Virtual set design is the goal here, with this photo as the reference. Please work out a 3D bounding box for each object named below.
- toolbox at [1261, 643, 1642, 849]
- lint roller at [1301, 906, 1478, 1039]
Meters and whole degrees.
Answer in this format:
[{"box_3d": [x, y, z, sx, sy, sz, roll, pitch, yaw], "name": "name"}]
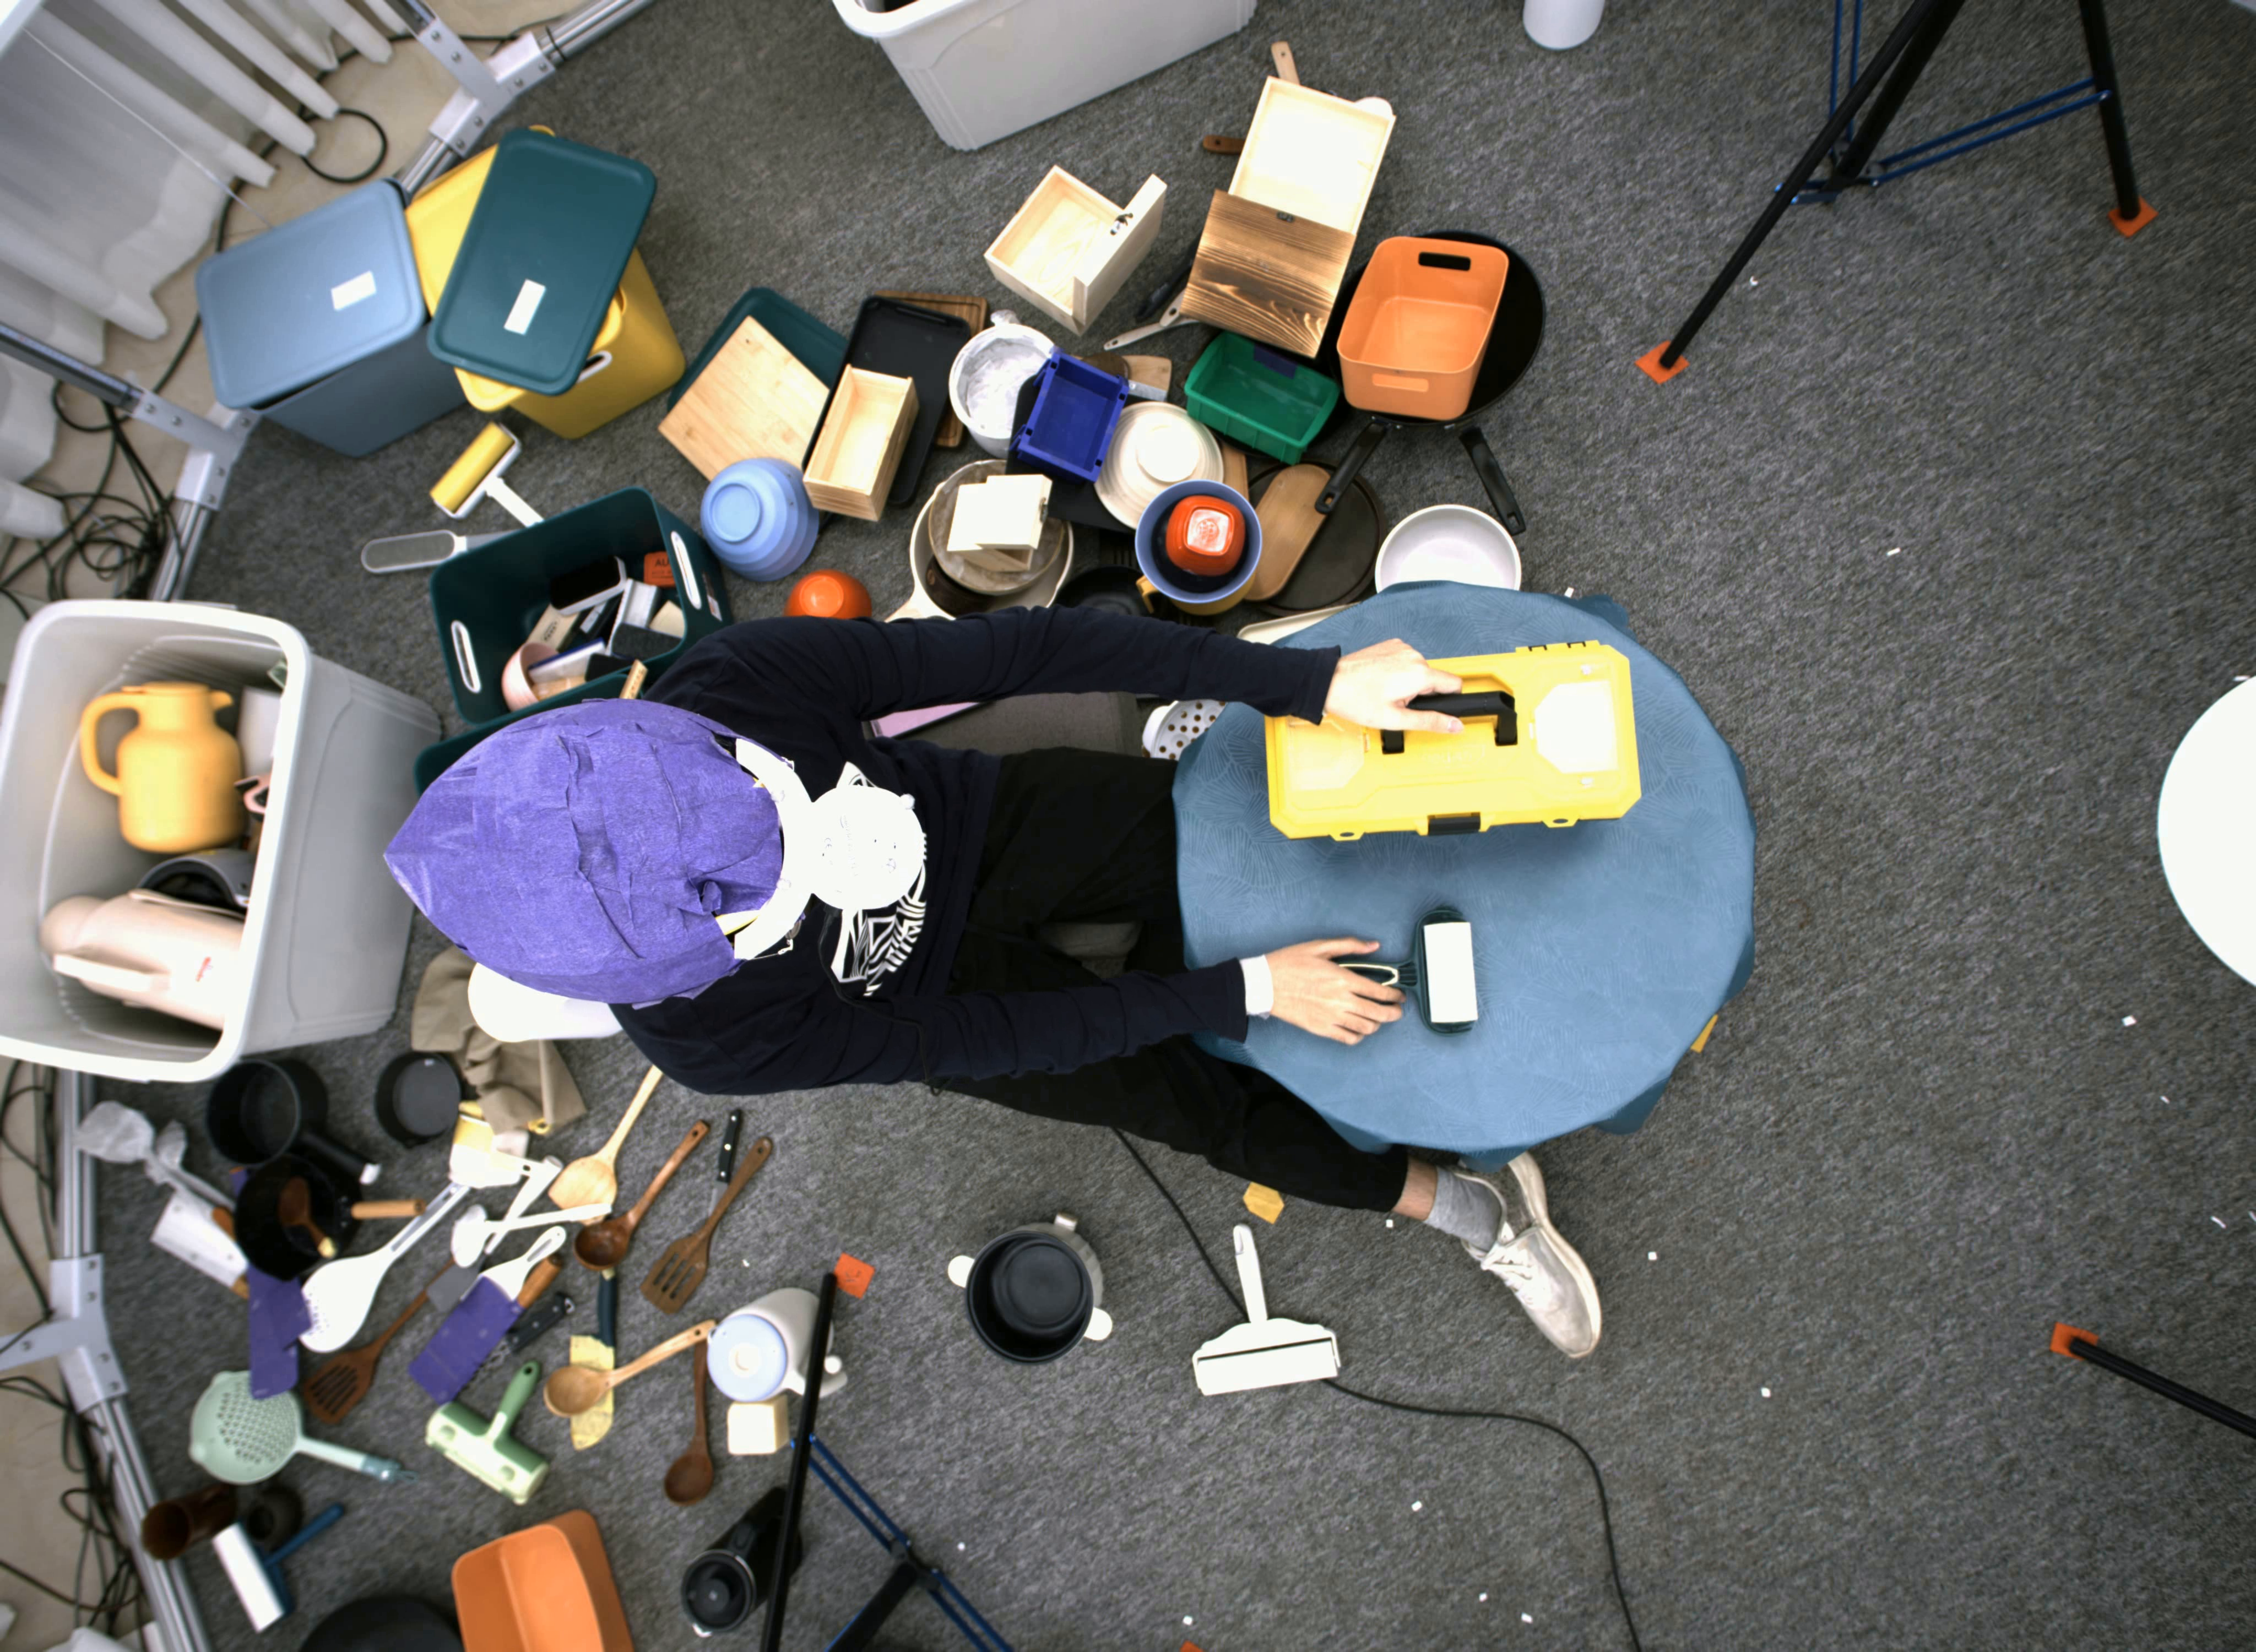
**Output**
[{"box_3d": [0.317, -0.074, 1.371, 0.353, 0.173, 0.180, -4, 84, 11], "name": "toolbox"}, {"box_3d": [0.267, 0.155, 1.436, 0.181, 0.048, 0.134, -5, 86, 14], "name": "lint roller"}]
